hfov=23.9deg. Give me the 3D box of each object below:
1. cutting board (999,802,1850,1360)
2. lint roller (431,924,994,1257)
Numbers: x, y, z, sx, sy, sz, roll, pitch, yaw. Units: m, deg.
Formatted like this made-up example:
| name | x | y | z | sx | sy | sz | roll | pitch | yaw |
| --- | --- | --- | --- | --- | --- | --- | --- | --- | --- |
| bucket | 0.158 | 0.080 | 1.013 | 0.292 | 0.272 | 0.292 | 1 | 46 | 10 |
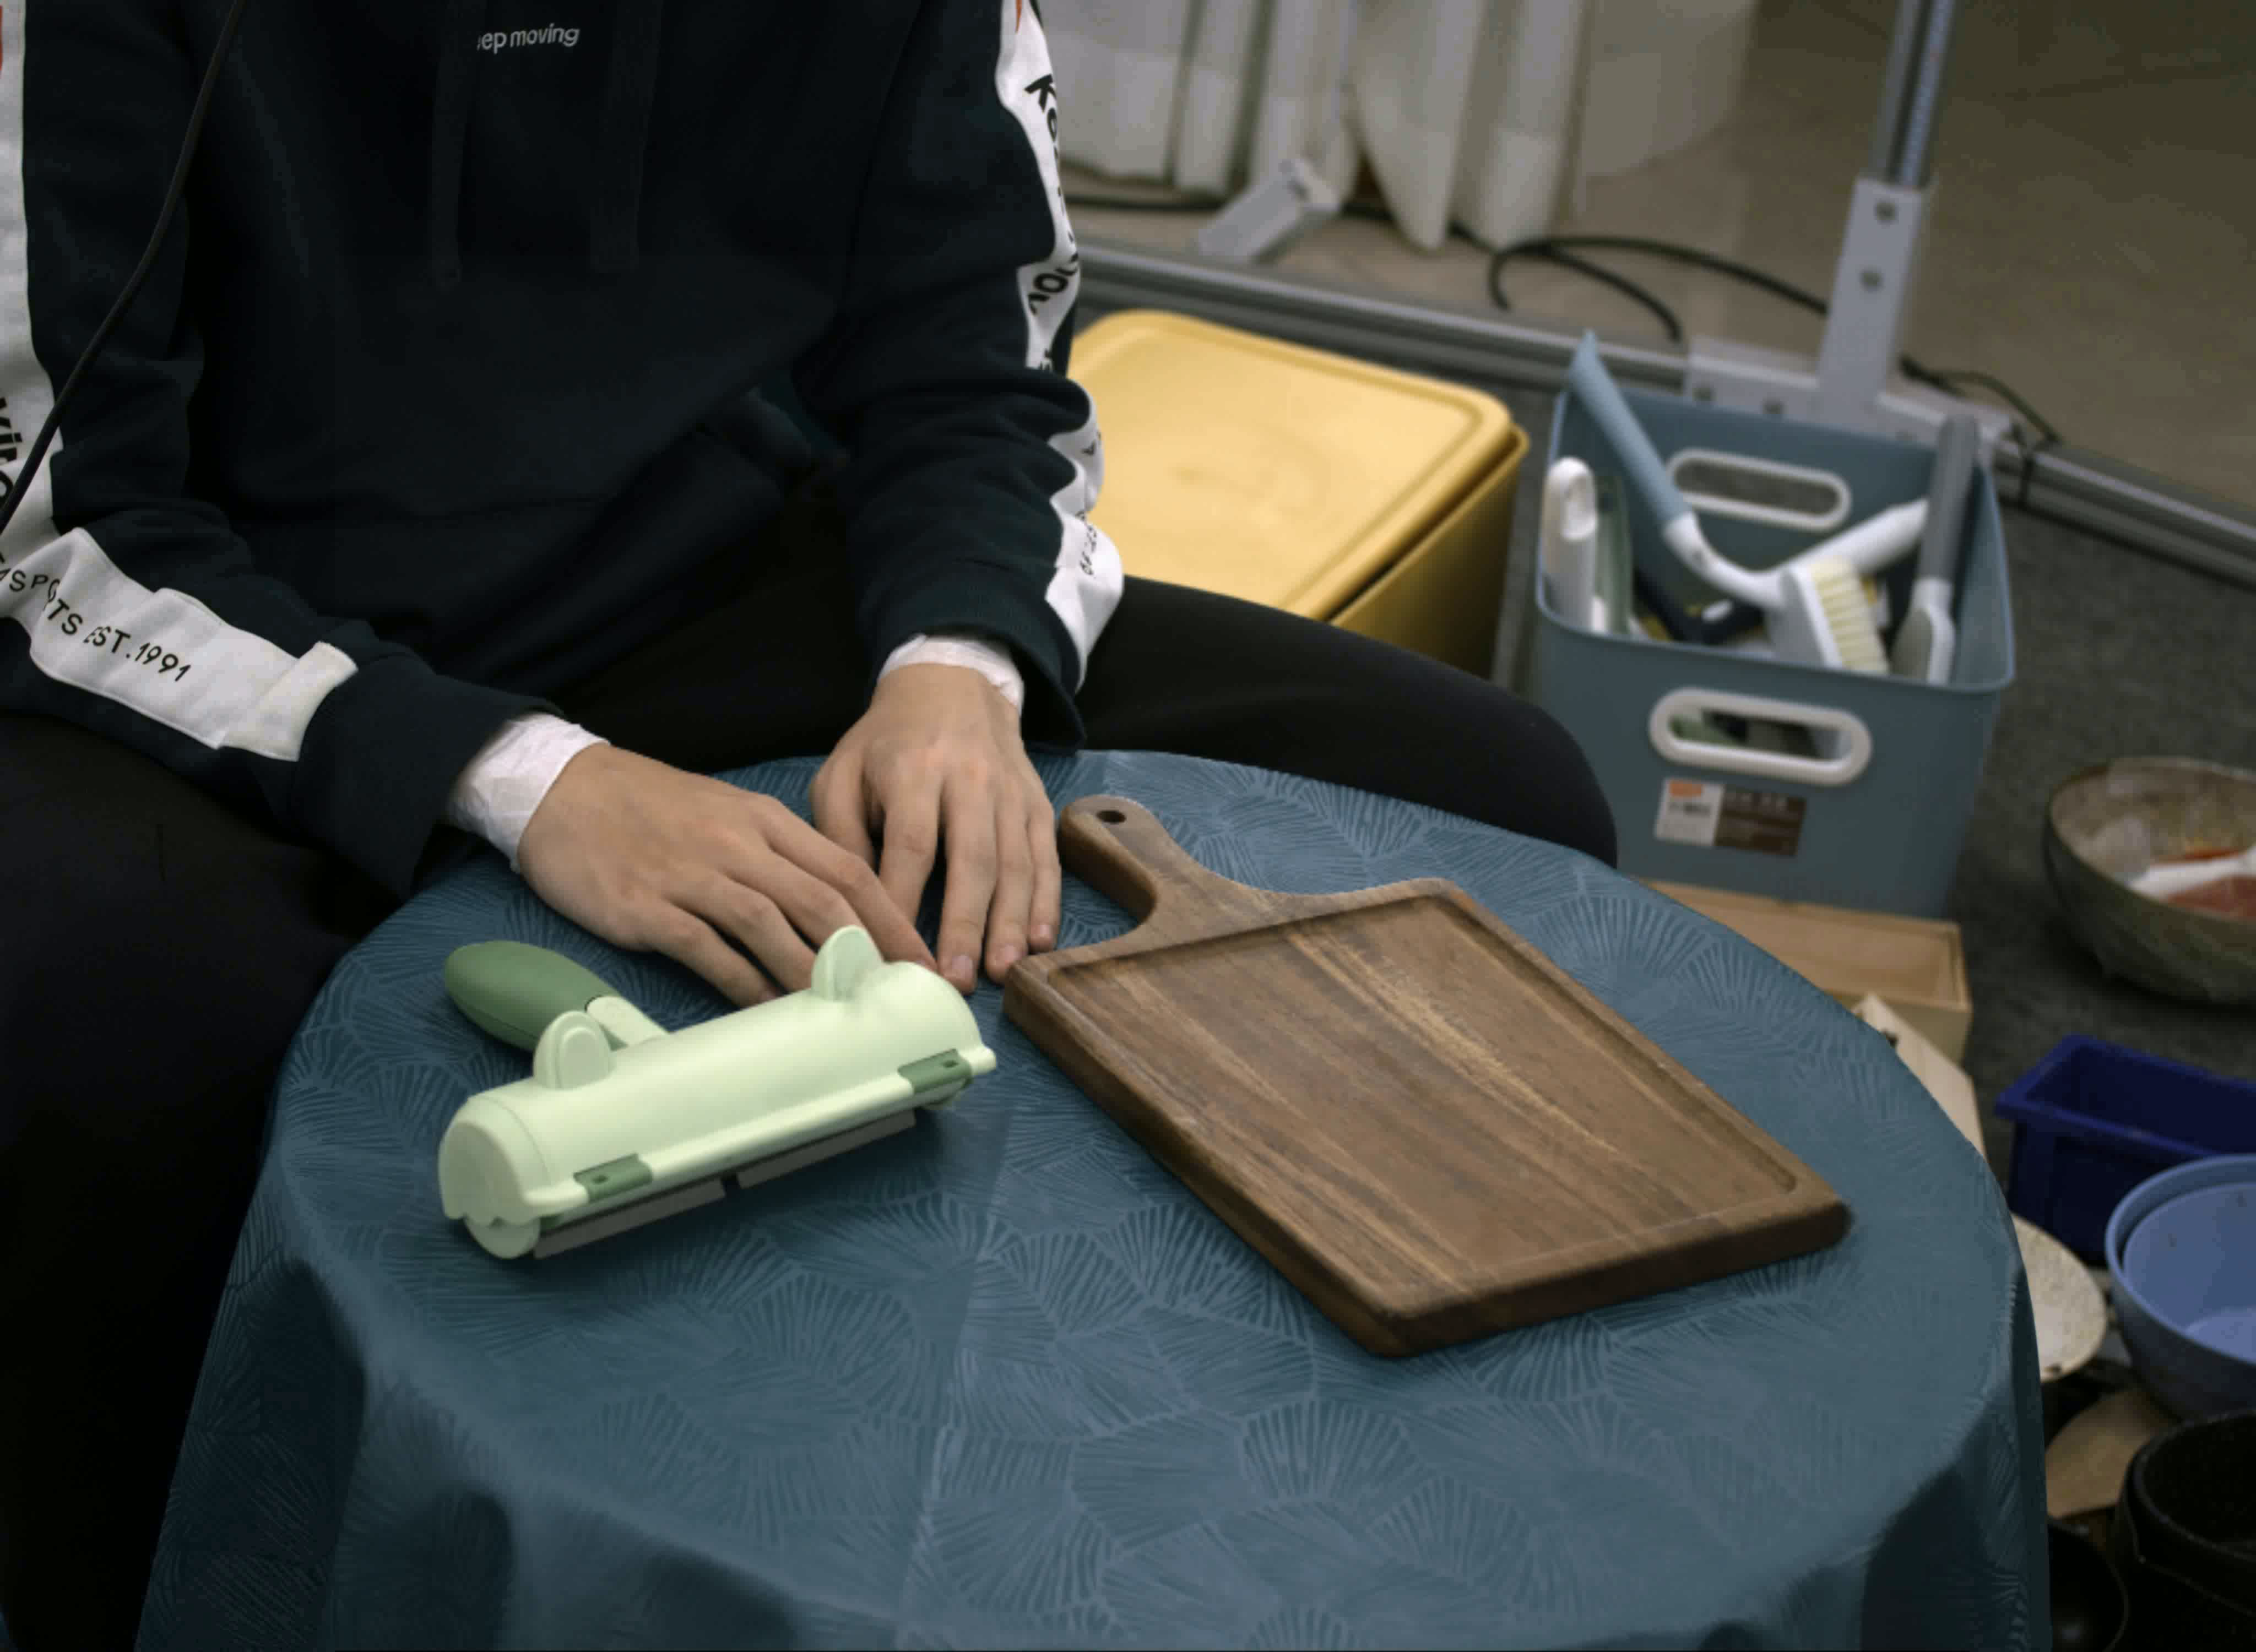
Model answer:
| name | x | y | z | sx | sy | sz | roll | pitch | yaw |
| --- | --- | --- | --- | --- | --- | --- | --- | --- | --- |
| cutting board | 0.074 | 0.075 | 1.888 | 0.200 | 0.023 | 0.355 | -11 | 31 | -31 |
| lint roller | -0.172 | 0.061 | 1.798 | 0.197 | 0.082 | 0.185 | -17 | 39 | -38 |
